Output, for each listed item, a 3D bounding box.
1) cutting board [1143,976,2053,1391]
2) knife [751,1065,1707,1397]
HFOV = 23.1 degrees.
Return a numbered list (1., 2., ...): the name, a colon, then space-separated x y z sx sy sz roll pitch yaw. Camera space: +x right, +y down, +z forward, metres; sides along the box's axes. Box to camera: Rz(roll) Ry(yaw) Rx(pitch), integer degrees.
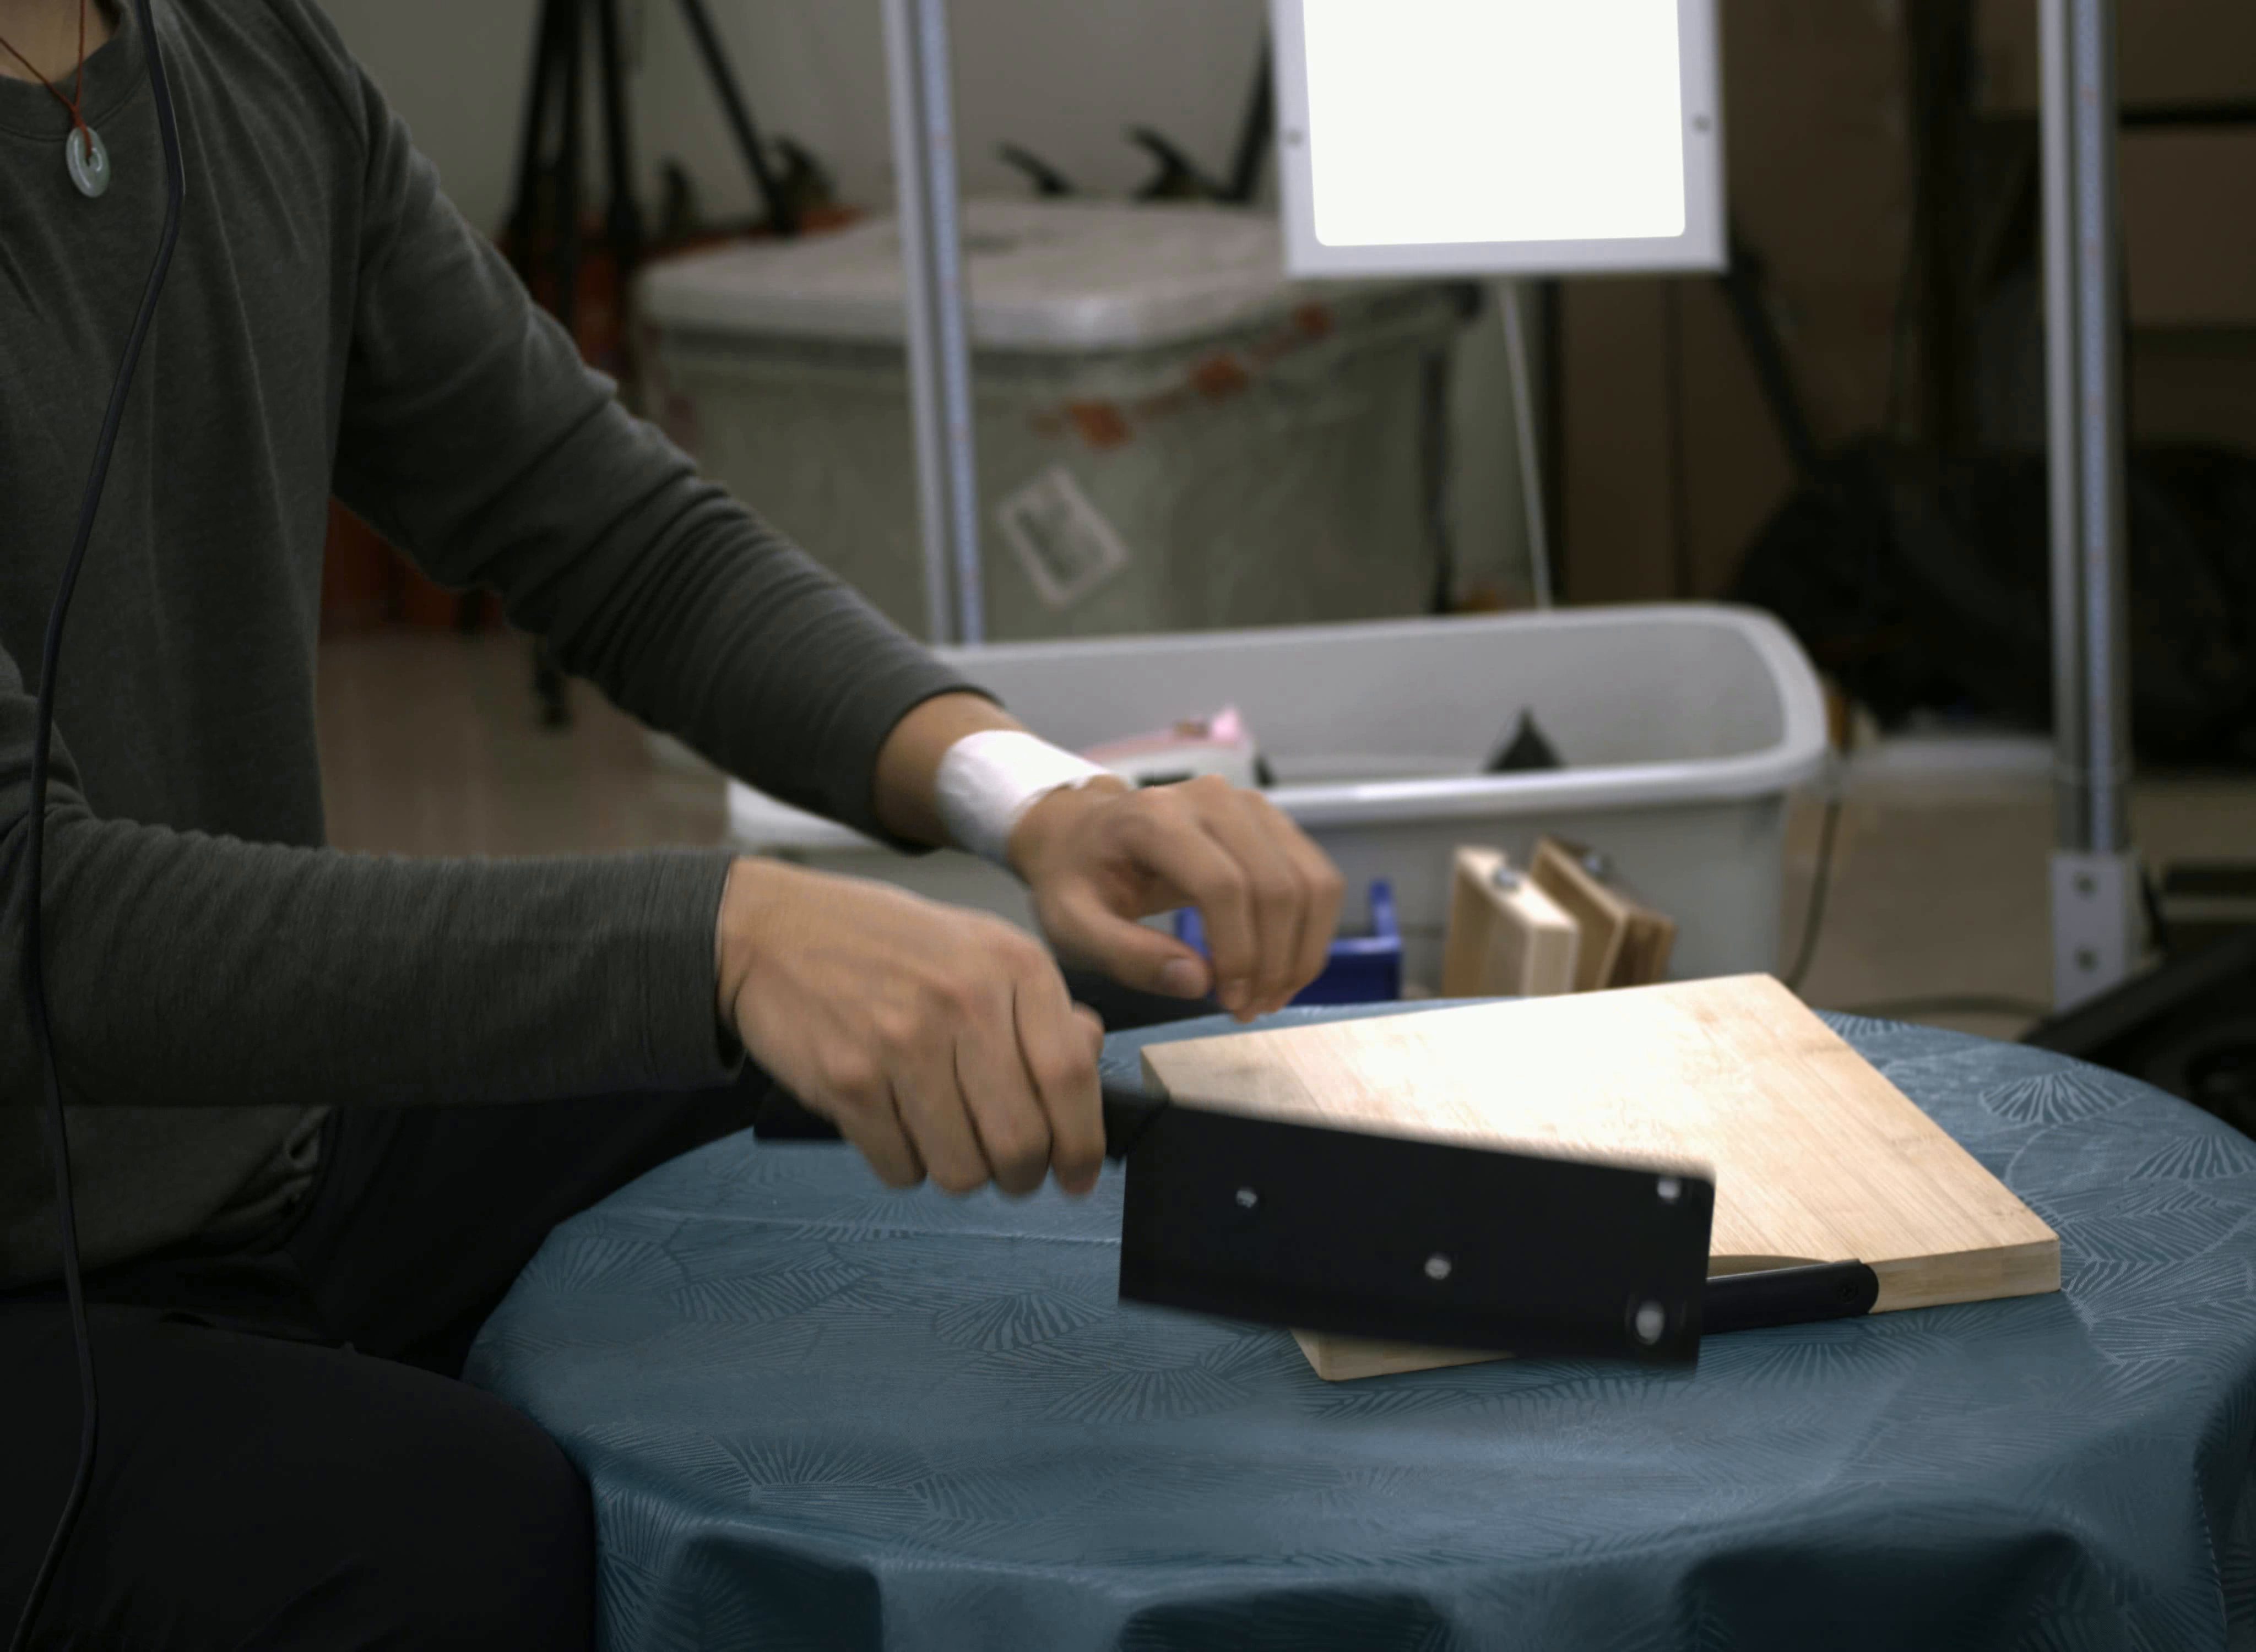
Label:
1. cutting board: 0.150 0.115 1.862 0.248 0.023 0.350 -8 14 -7
2. knife: 0.027 0.117 1.646 0.306 0.081 0.020 12 10 20
